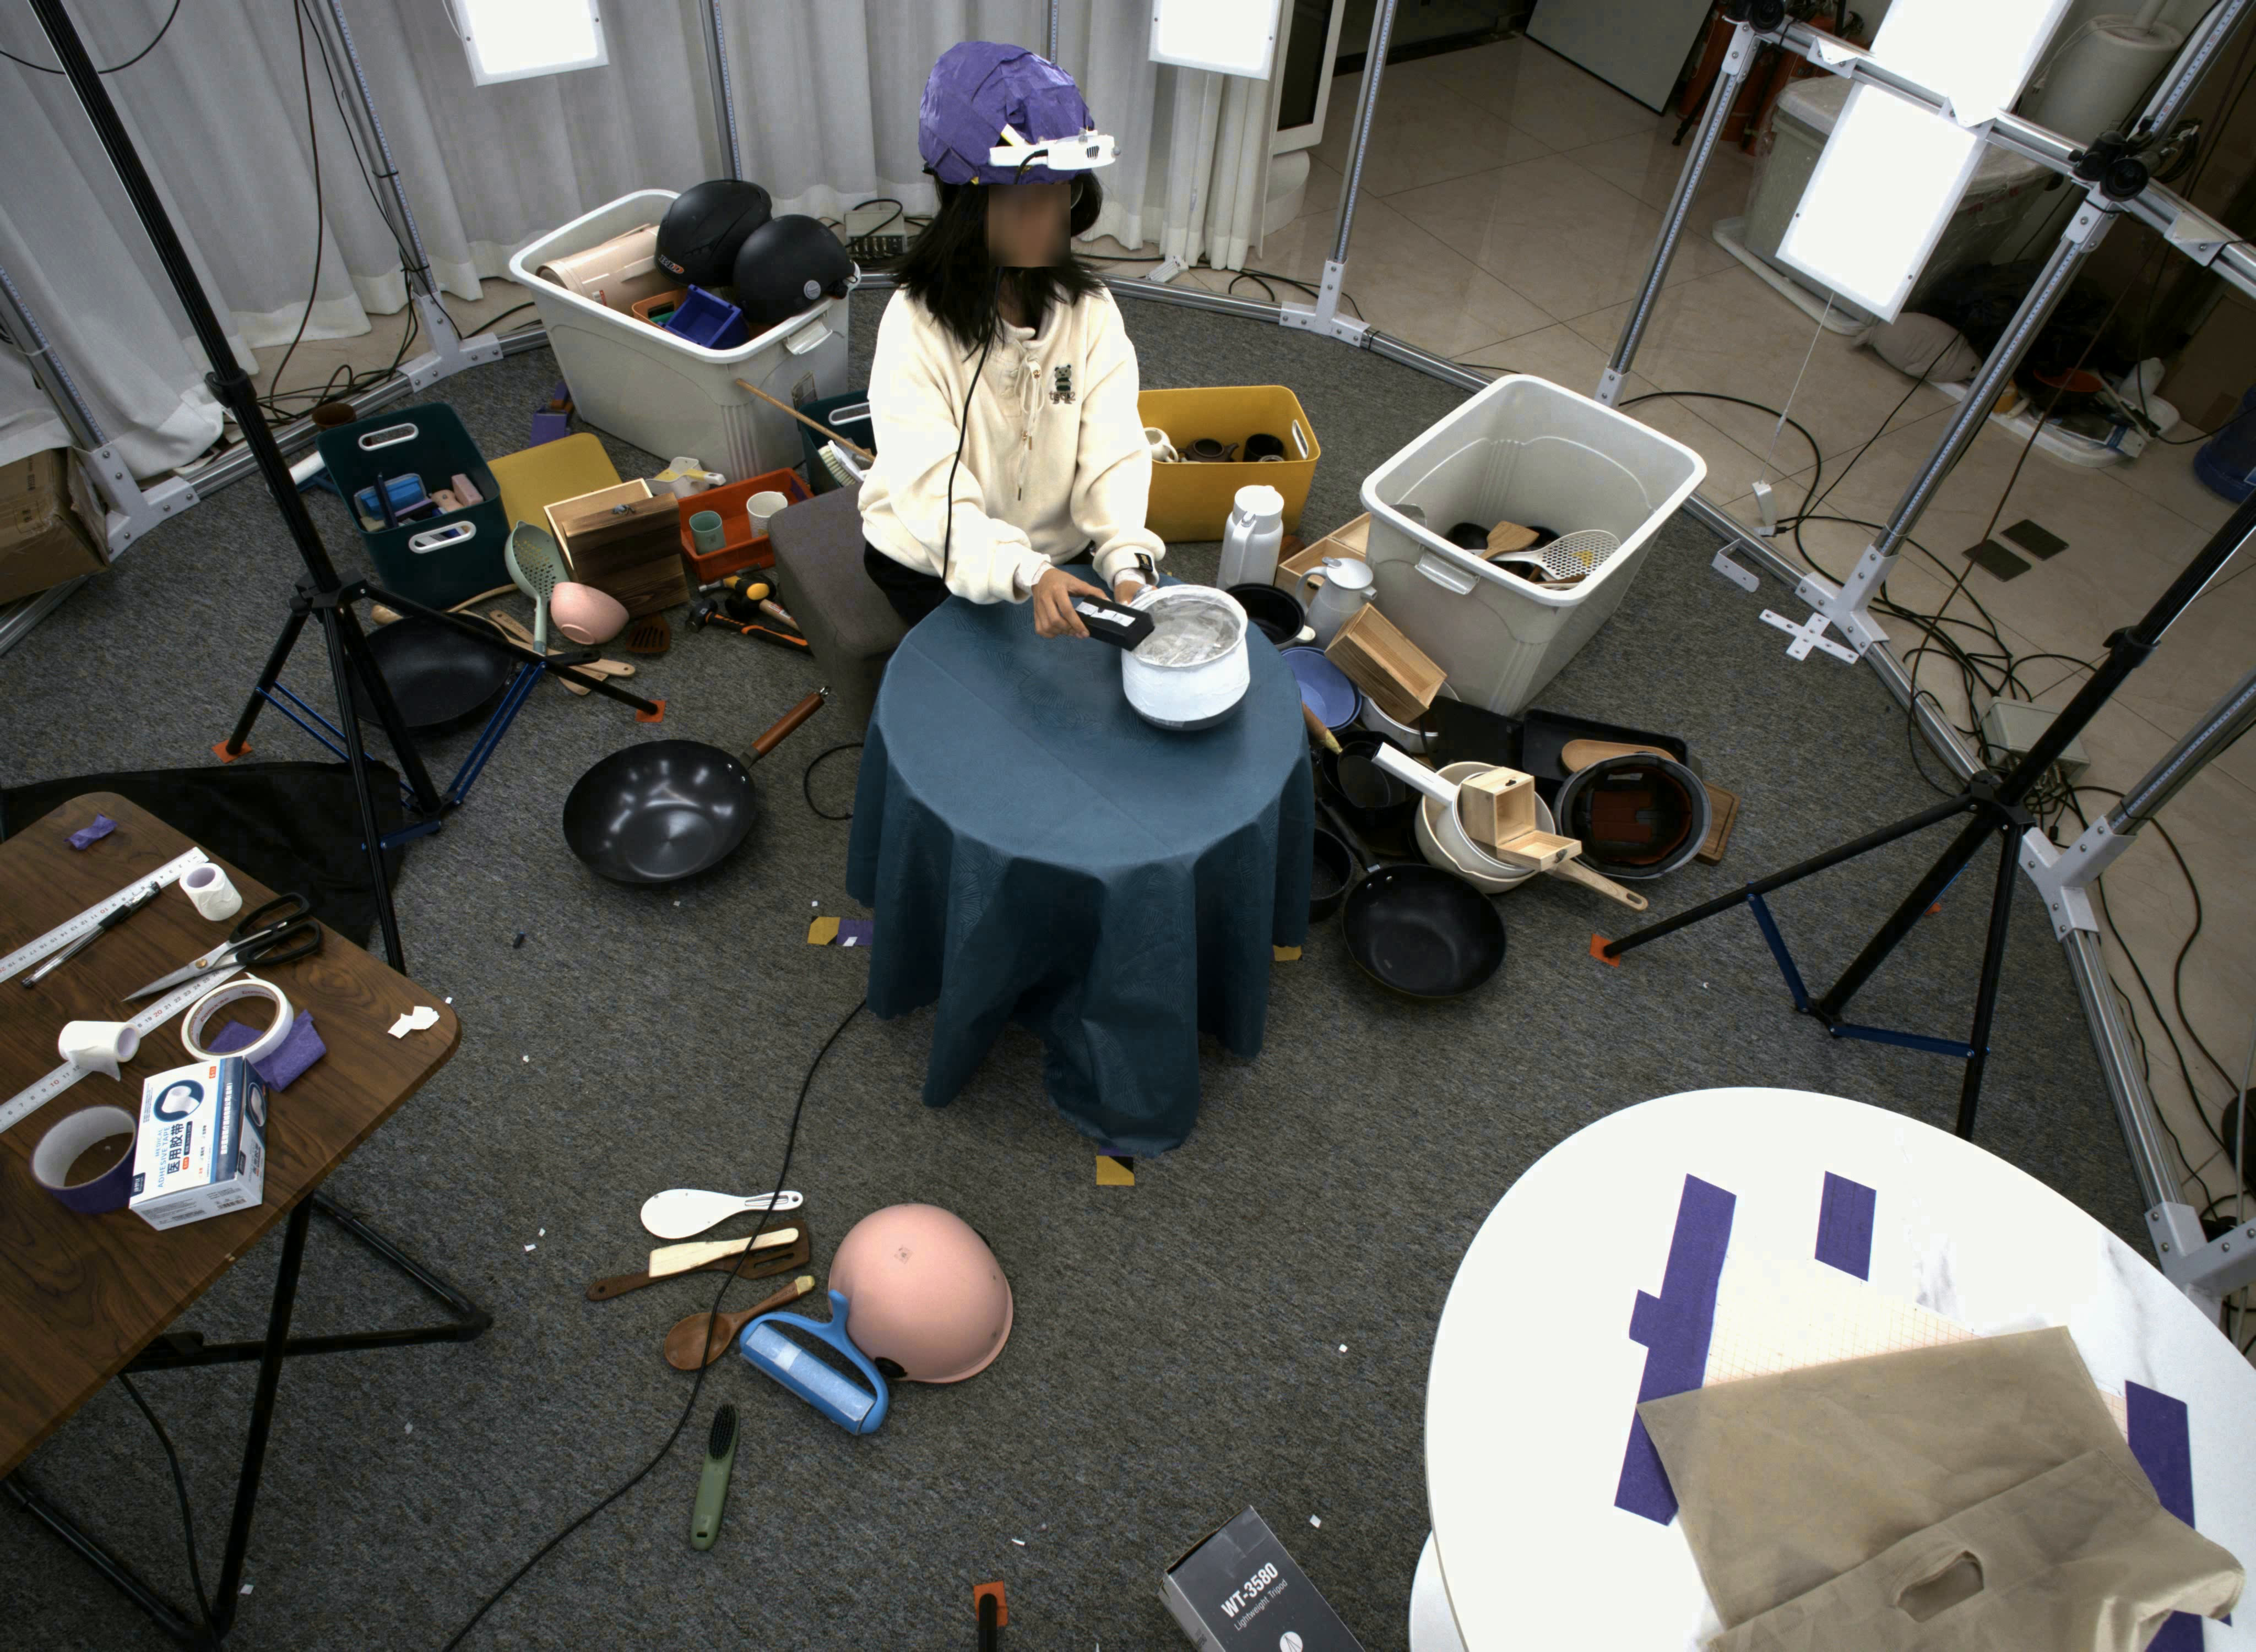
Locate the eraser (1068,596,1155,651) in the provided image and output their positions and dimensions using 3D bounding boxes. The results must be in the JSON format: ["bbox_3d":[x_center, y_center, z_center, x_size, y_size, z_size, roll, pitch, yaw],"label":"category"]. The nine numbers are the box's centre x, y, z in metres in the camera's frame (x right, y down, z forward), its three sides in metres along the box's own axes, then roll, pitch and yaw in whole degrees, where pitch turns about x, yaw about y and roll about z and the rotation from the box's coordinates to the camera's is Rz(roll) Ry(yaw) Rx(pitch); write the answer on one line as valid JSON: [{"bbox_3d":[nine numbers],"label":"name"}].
[{"bbox_3d":[-0.023,-0.273,1.727,0.054,0.030,0.127,-44,42,-18],"label":"eraser"}]

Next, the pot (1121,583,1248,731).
[{"bbox_3d":[0.063,-0.246,1.787,0.179,0.133,0.239,-25,49,-17],"label":"pot"}]
